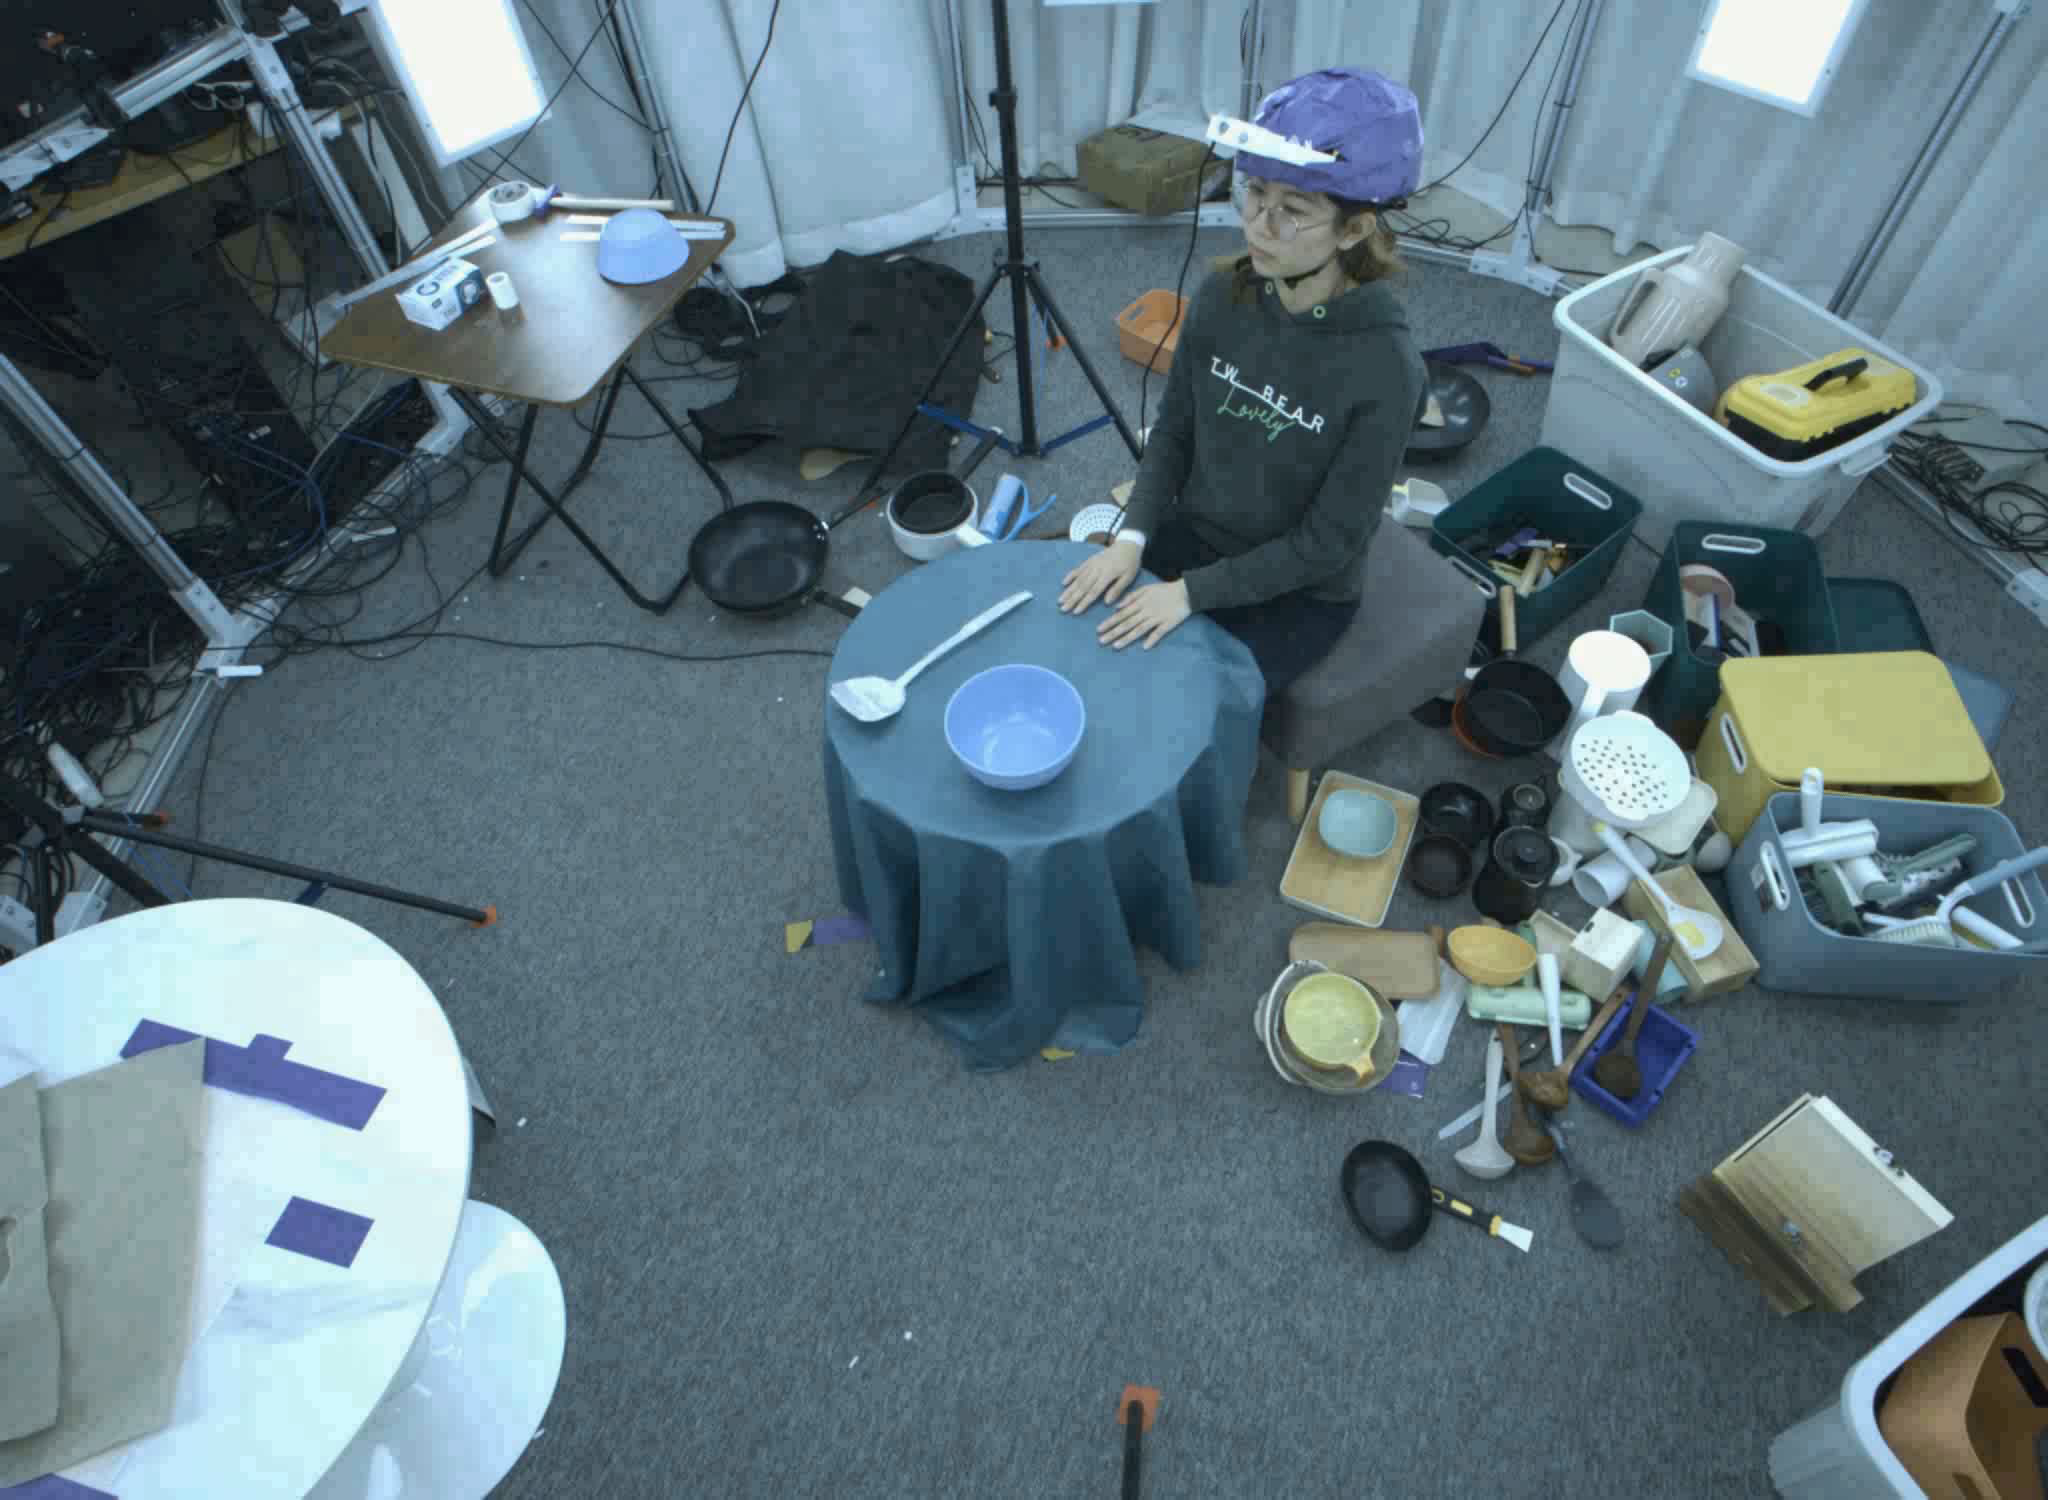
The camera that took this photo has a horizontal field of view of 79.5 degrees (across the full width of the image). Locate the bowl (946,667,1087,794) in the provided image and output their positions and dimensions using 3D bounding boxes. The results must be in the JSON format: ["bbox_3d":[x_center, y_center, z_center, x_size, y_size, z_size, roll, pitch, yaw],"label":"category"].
[{"bbox_3d":[-0.007,-0.013,1.747,0.196,0.096,0.194,-1,57,3],"label":"bowl"}]

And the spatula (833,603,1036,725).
[{"bbox_3d":[-0.127,-0.147,1.881,0.367,0.045,0.097,-37,59,-21],"label":"spatula"}]
